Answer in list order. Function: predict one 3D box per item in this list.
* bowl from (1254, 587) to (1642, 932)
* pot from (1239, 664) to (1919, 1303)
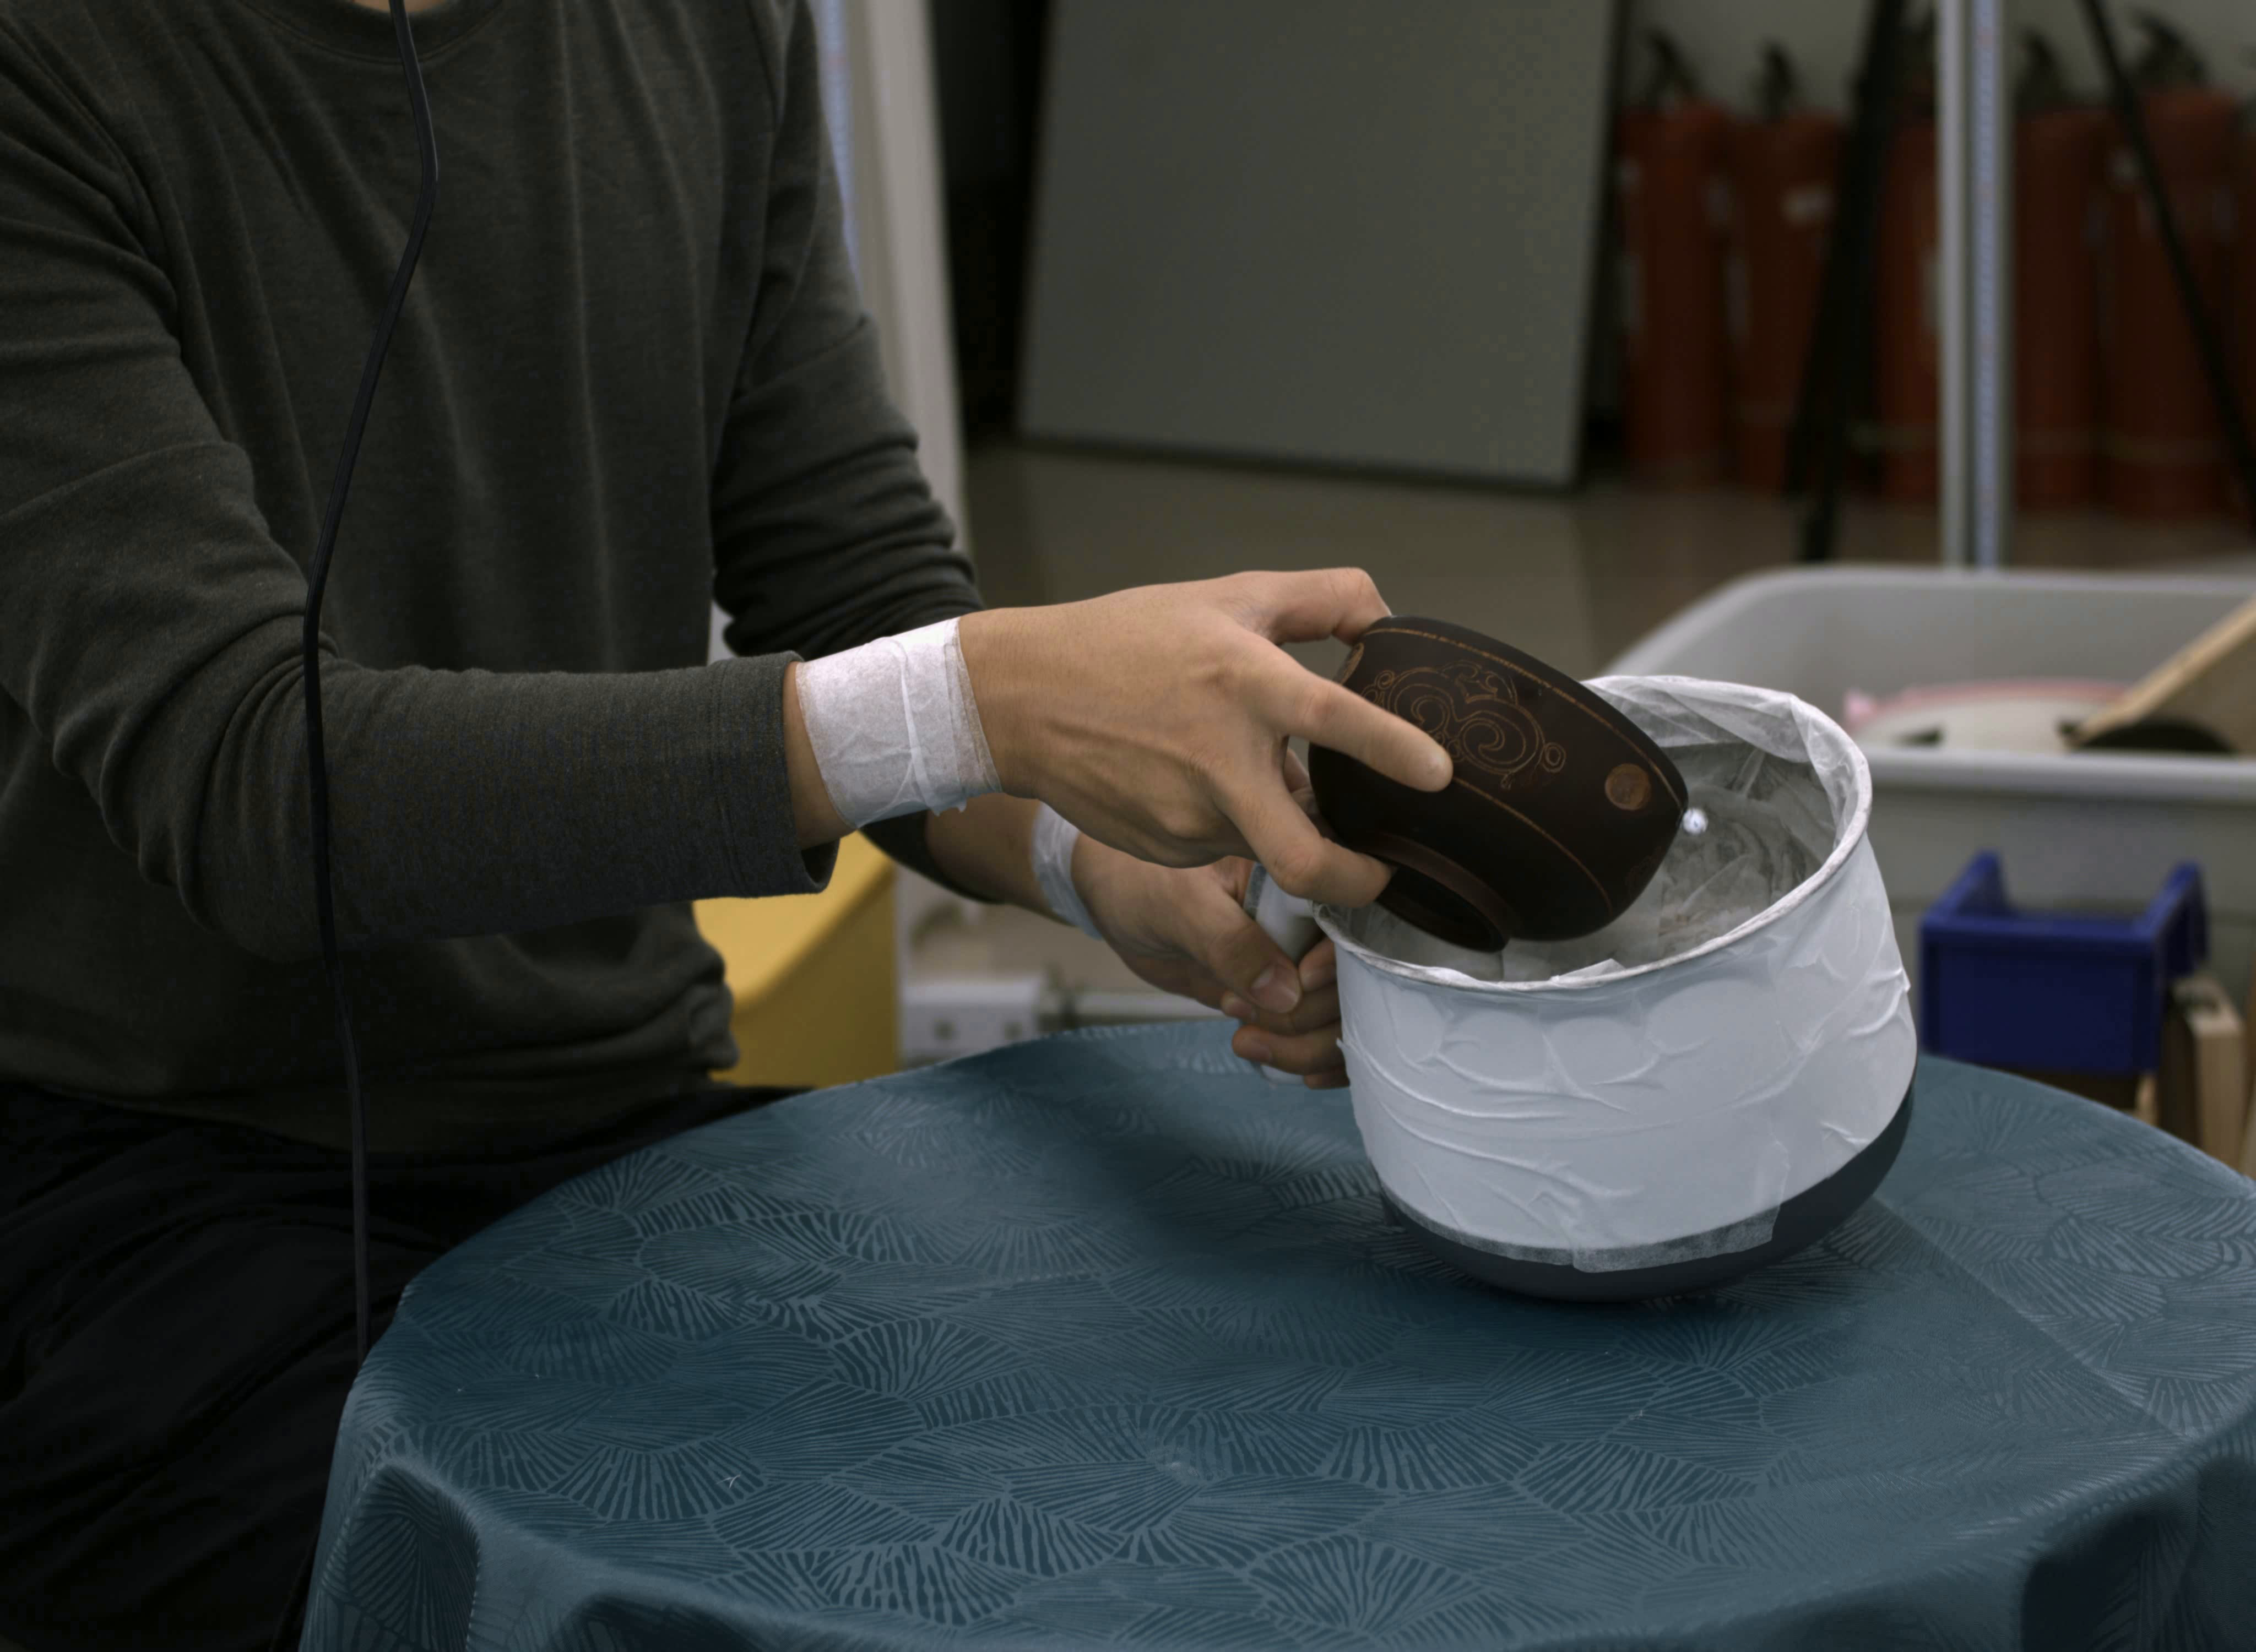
[{"bbox_3d":[0.091,-0.012,1.632,0.117,0.070,0.118,22,-21,8],"label":"bowl"},{"bbox_3d":[0.130,0.048,1.678,0.235,0.137,0.177,7,35,35],"label":"pot"}]
